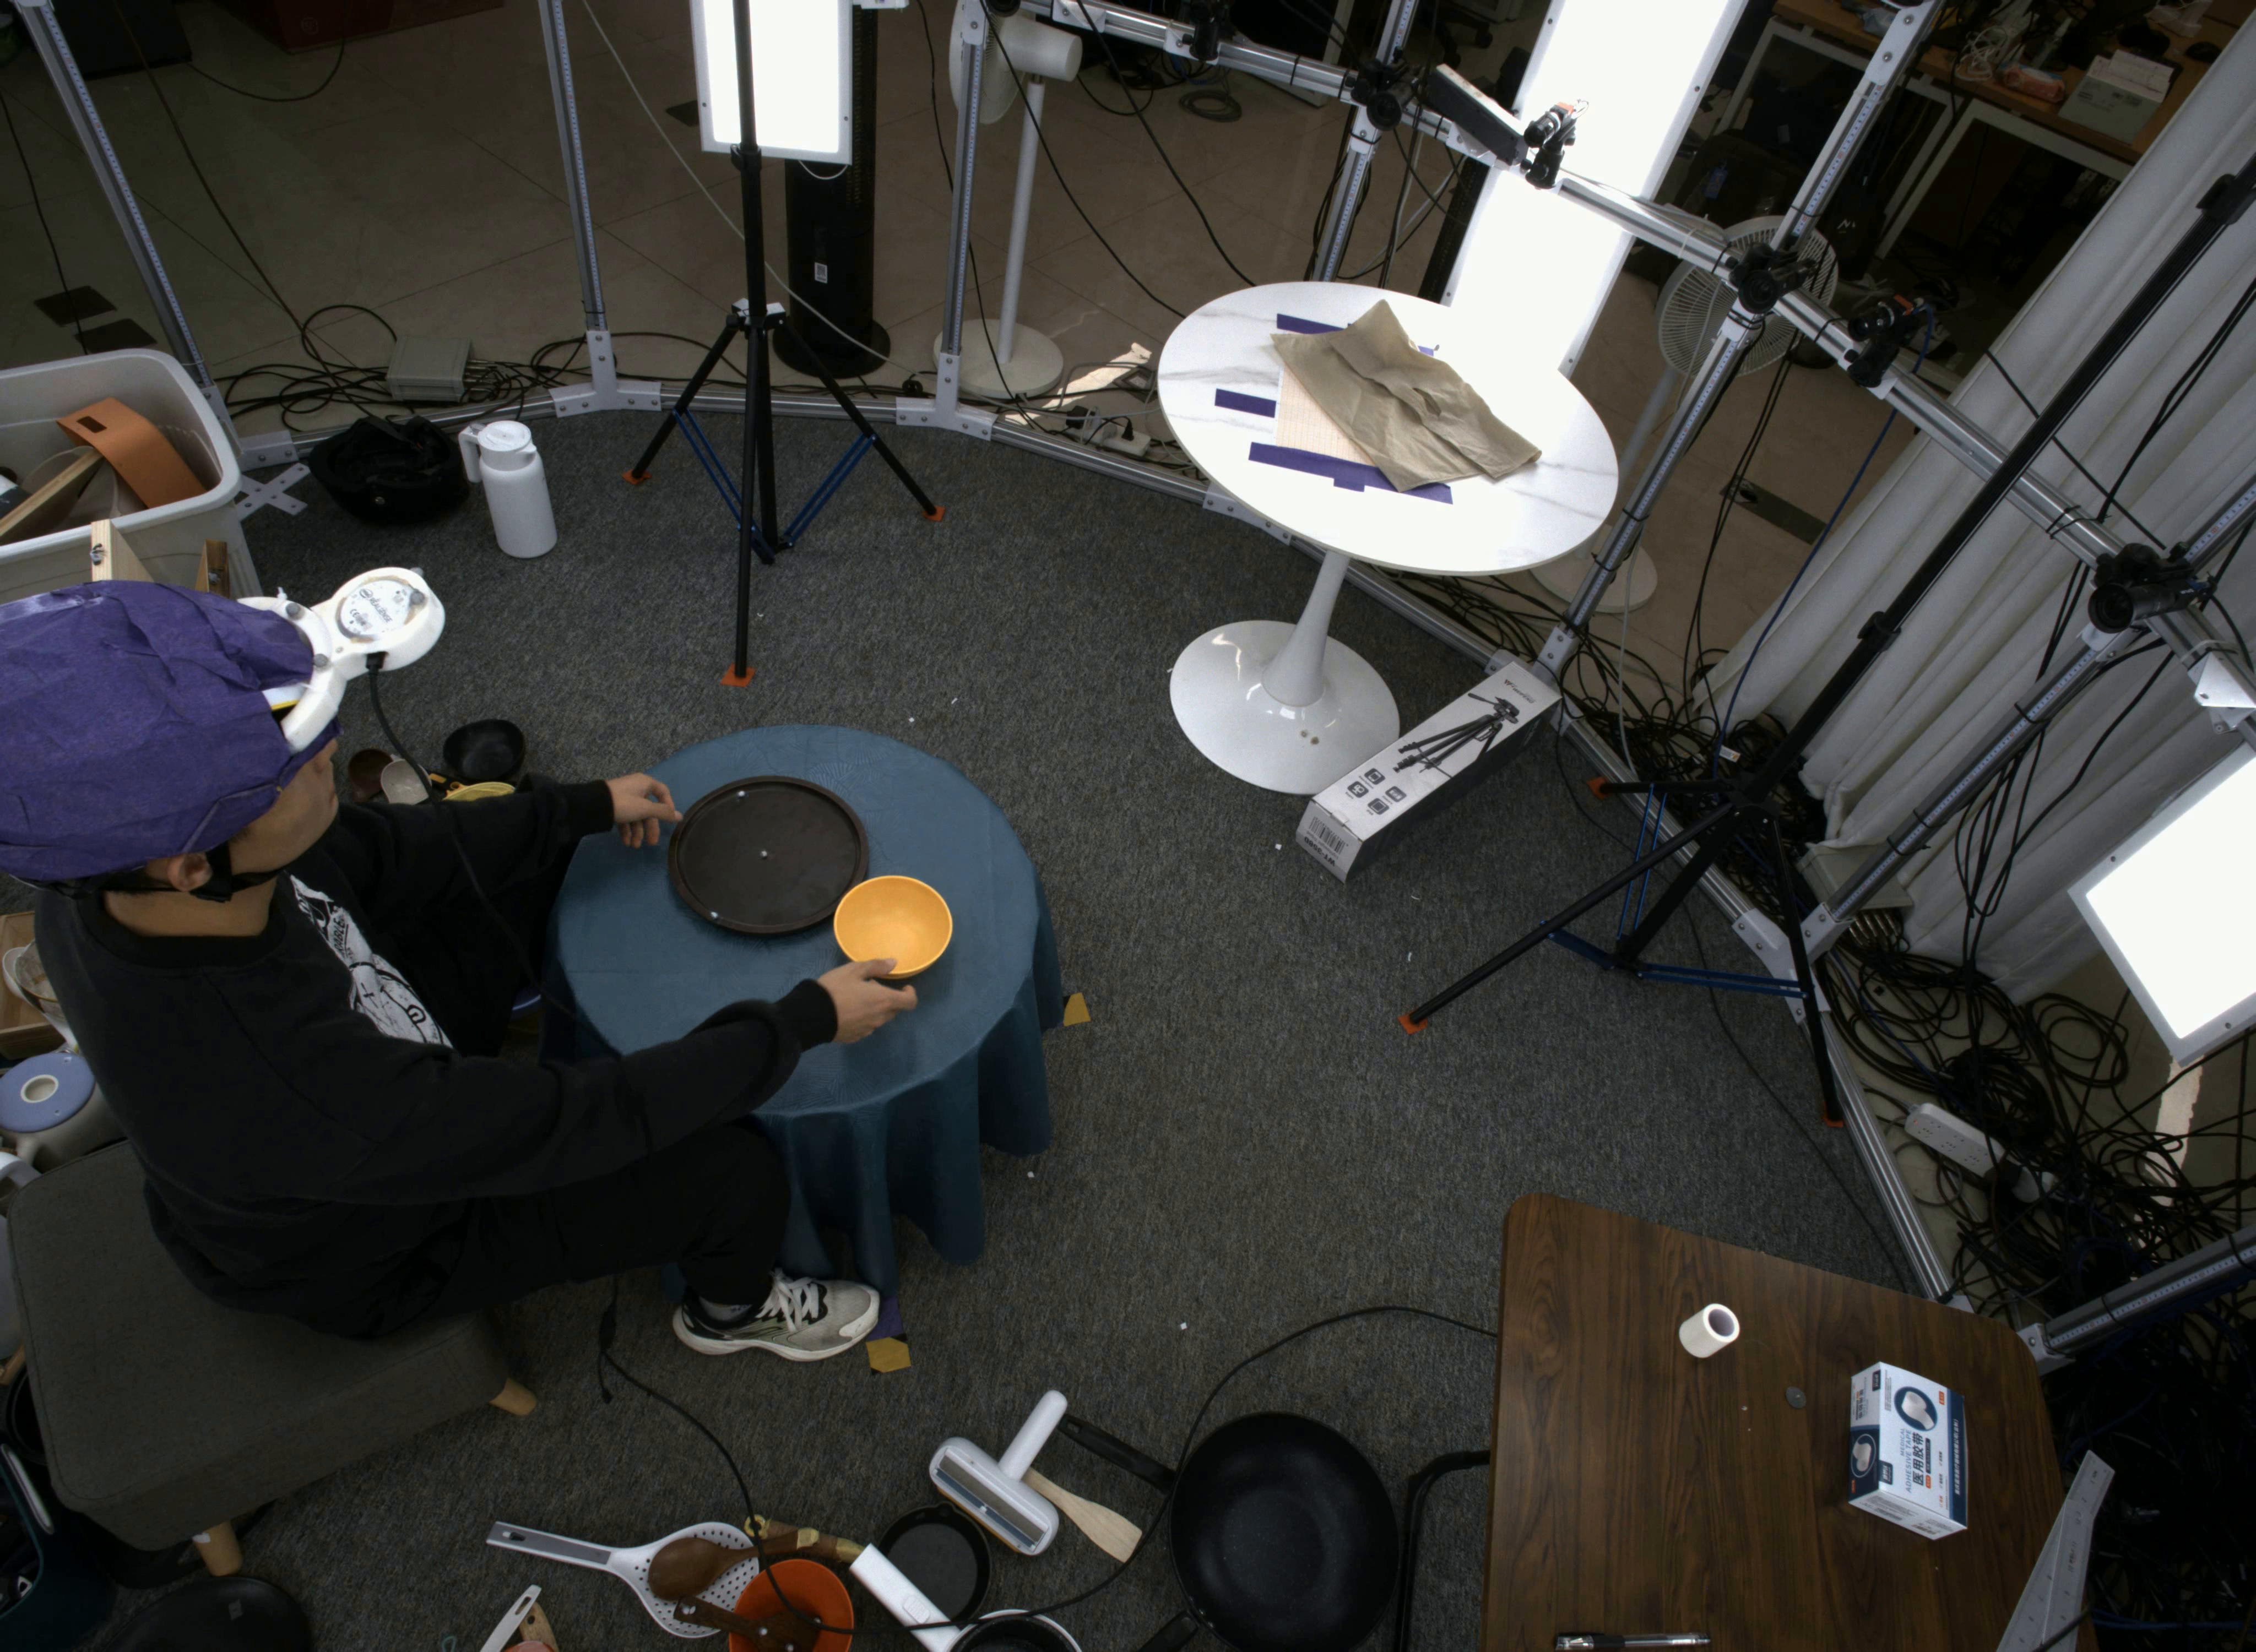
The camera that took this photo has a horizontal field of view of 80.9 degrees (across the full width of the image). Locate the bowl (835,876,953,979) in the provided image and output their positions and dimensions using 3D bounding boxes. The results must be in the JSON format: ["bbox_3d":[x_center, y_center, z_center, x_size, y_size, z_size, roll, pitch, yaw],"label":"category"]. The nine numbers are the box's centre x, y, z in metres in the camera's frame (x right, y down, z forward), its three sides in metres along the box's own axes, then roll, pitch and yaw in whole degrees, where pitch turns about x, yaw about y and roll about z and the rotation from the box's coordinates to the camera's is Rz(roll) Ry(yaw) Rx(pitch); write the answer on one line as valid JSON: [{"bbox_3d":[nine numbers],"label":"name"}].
[{"bbox_3d":[-0.292,0.136,1.625,0.144,0.061,0.143,6,52,-6],"label":"bowl"}]

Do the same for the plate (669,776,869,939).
[{"bbox_3d":[-0.463,0.038,1.677,0.254,0.029,0.250,8,54,-10],"label":"plate"}]
